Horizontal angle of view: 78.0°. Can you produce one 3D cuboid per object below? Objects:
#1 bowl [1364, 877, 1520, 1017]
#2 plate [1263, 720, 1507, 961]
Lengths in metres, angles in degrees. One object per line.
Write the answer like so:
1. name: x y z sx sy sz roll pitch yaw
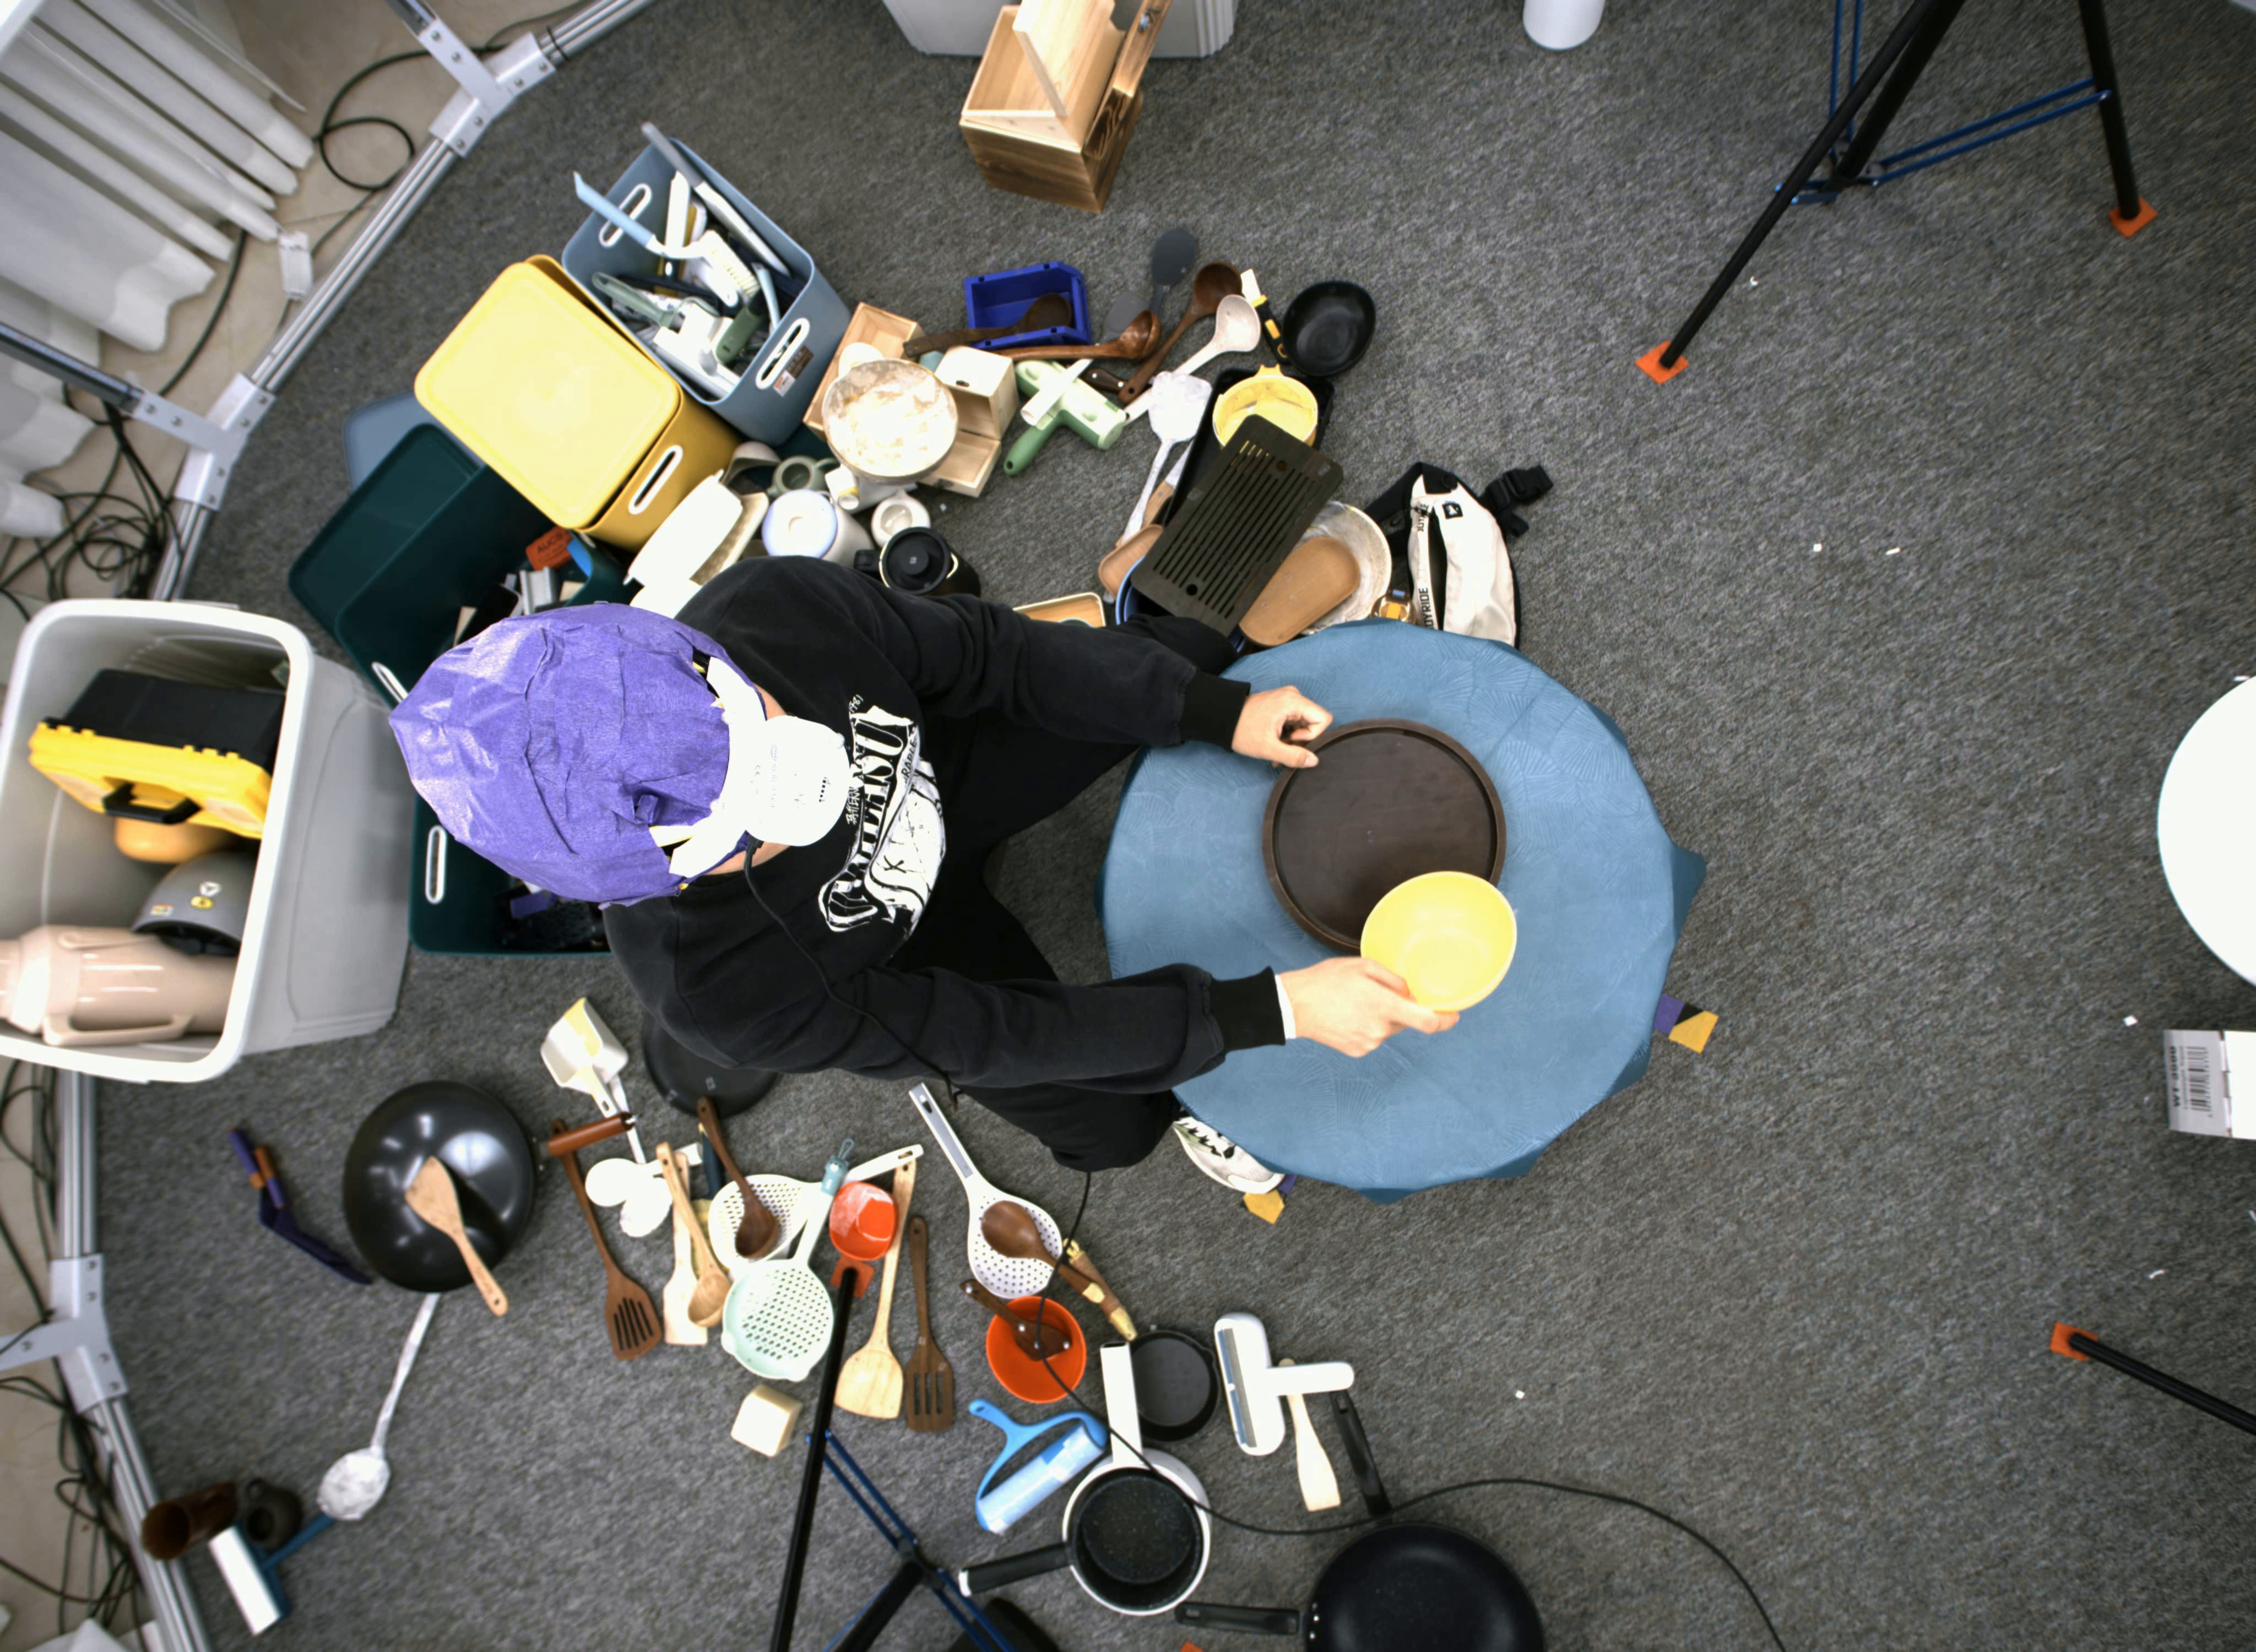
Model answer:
1. bowl: 0.298 0.122 1.294 0.146 0.061 0.141 -13 53 18
2. plate: 0.268 0.015 1.442 0.255 0.029 0.255 0 95 6
